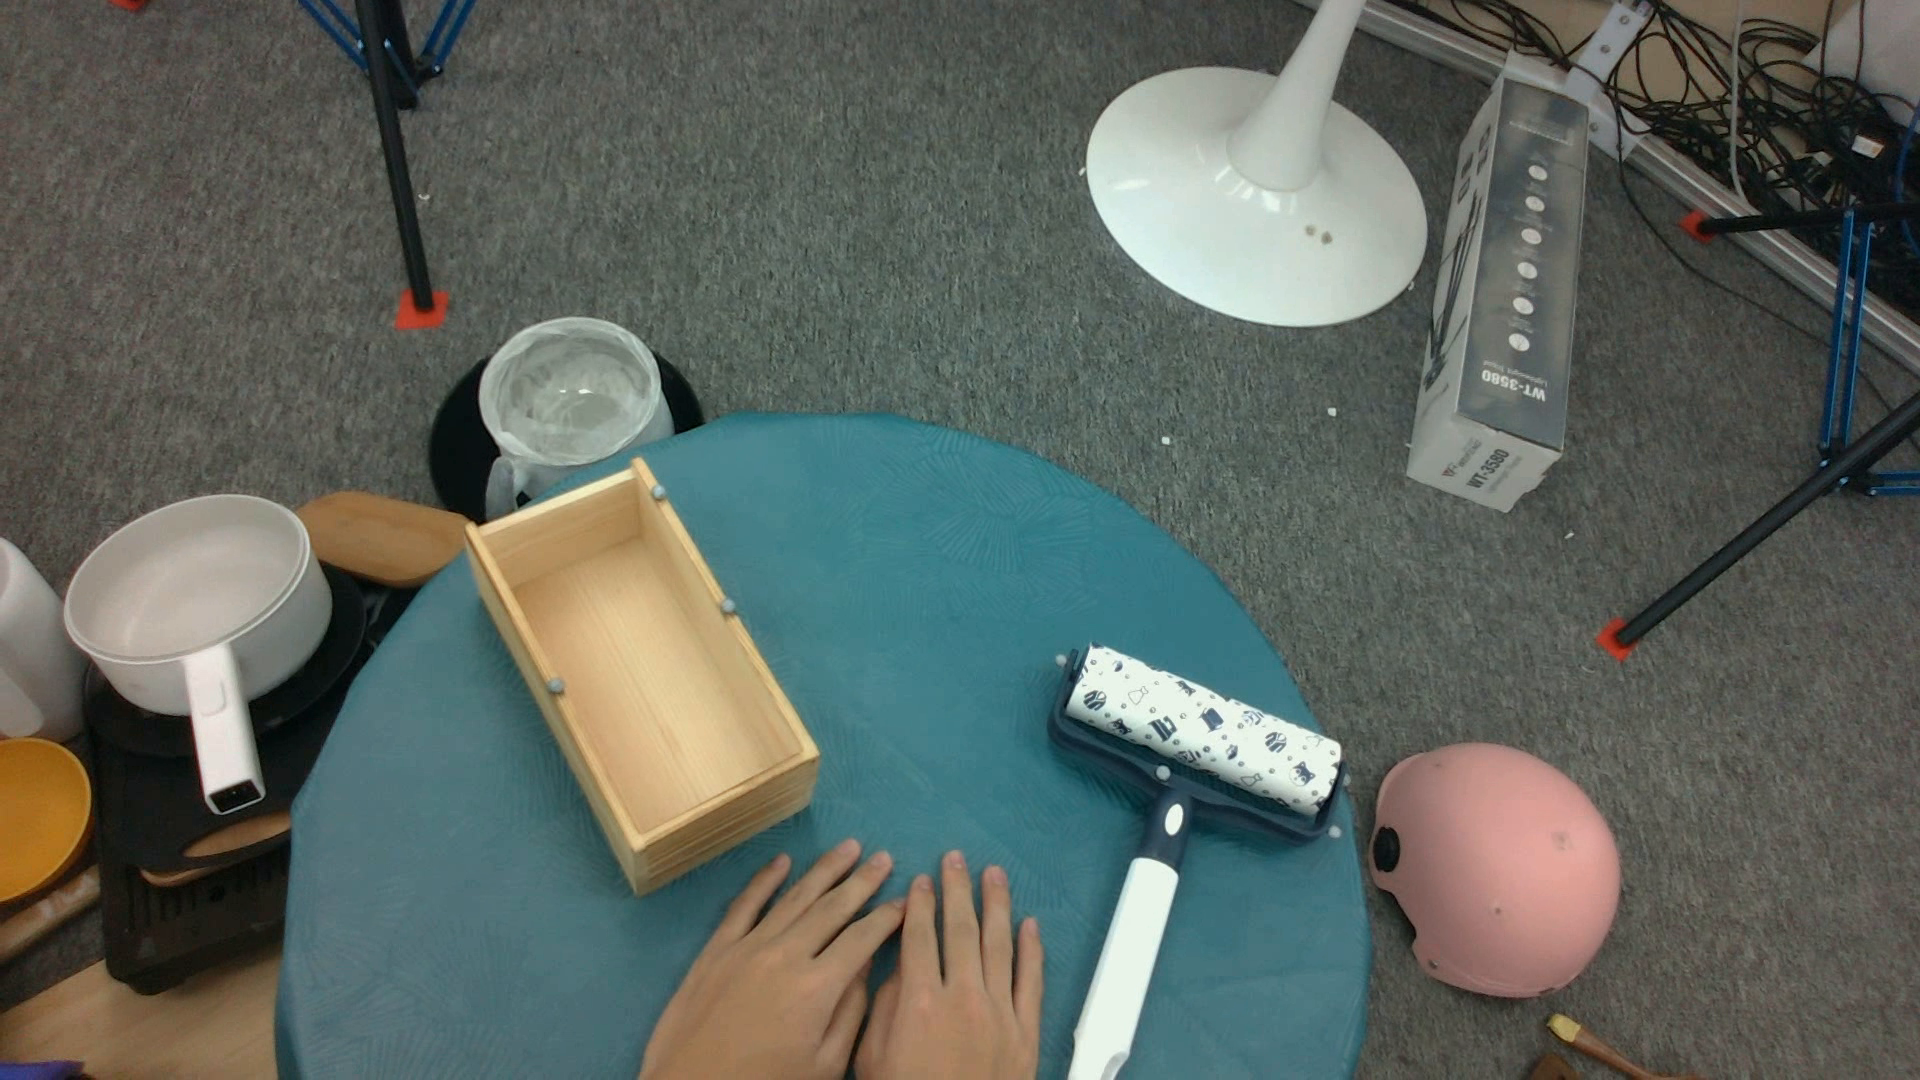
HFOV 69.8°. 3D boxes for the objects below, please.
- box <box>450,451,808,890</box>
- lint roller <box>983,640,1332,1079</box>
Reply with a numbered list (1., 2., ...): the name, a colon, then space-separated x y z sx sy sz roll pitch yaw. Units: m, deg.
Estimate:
1. box: -0.185 0.069 0.766 0.108 0.080 0.211 -26 67 -24
2. lint roller: 0.084 0.188 0.762 0.176 0.050 0.248 30 57 10
